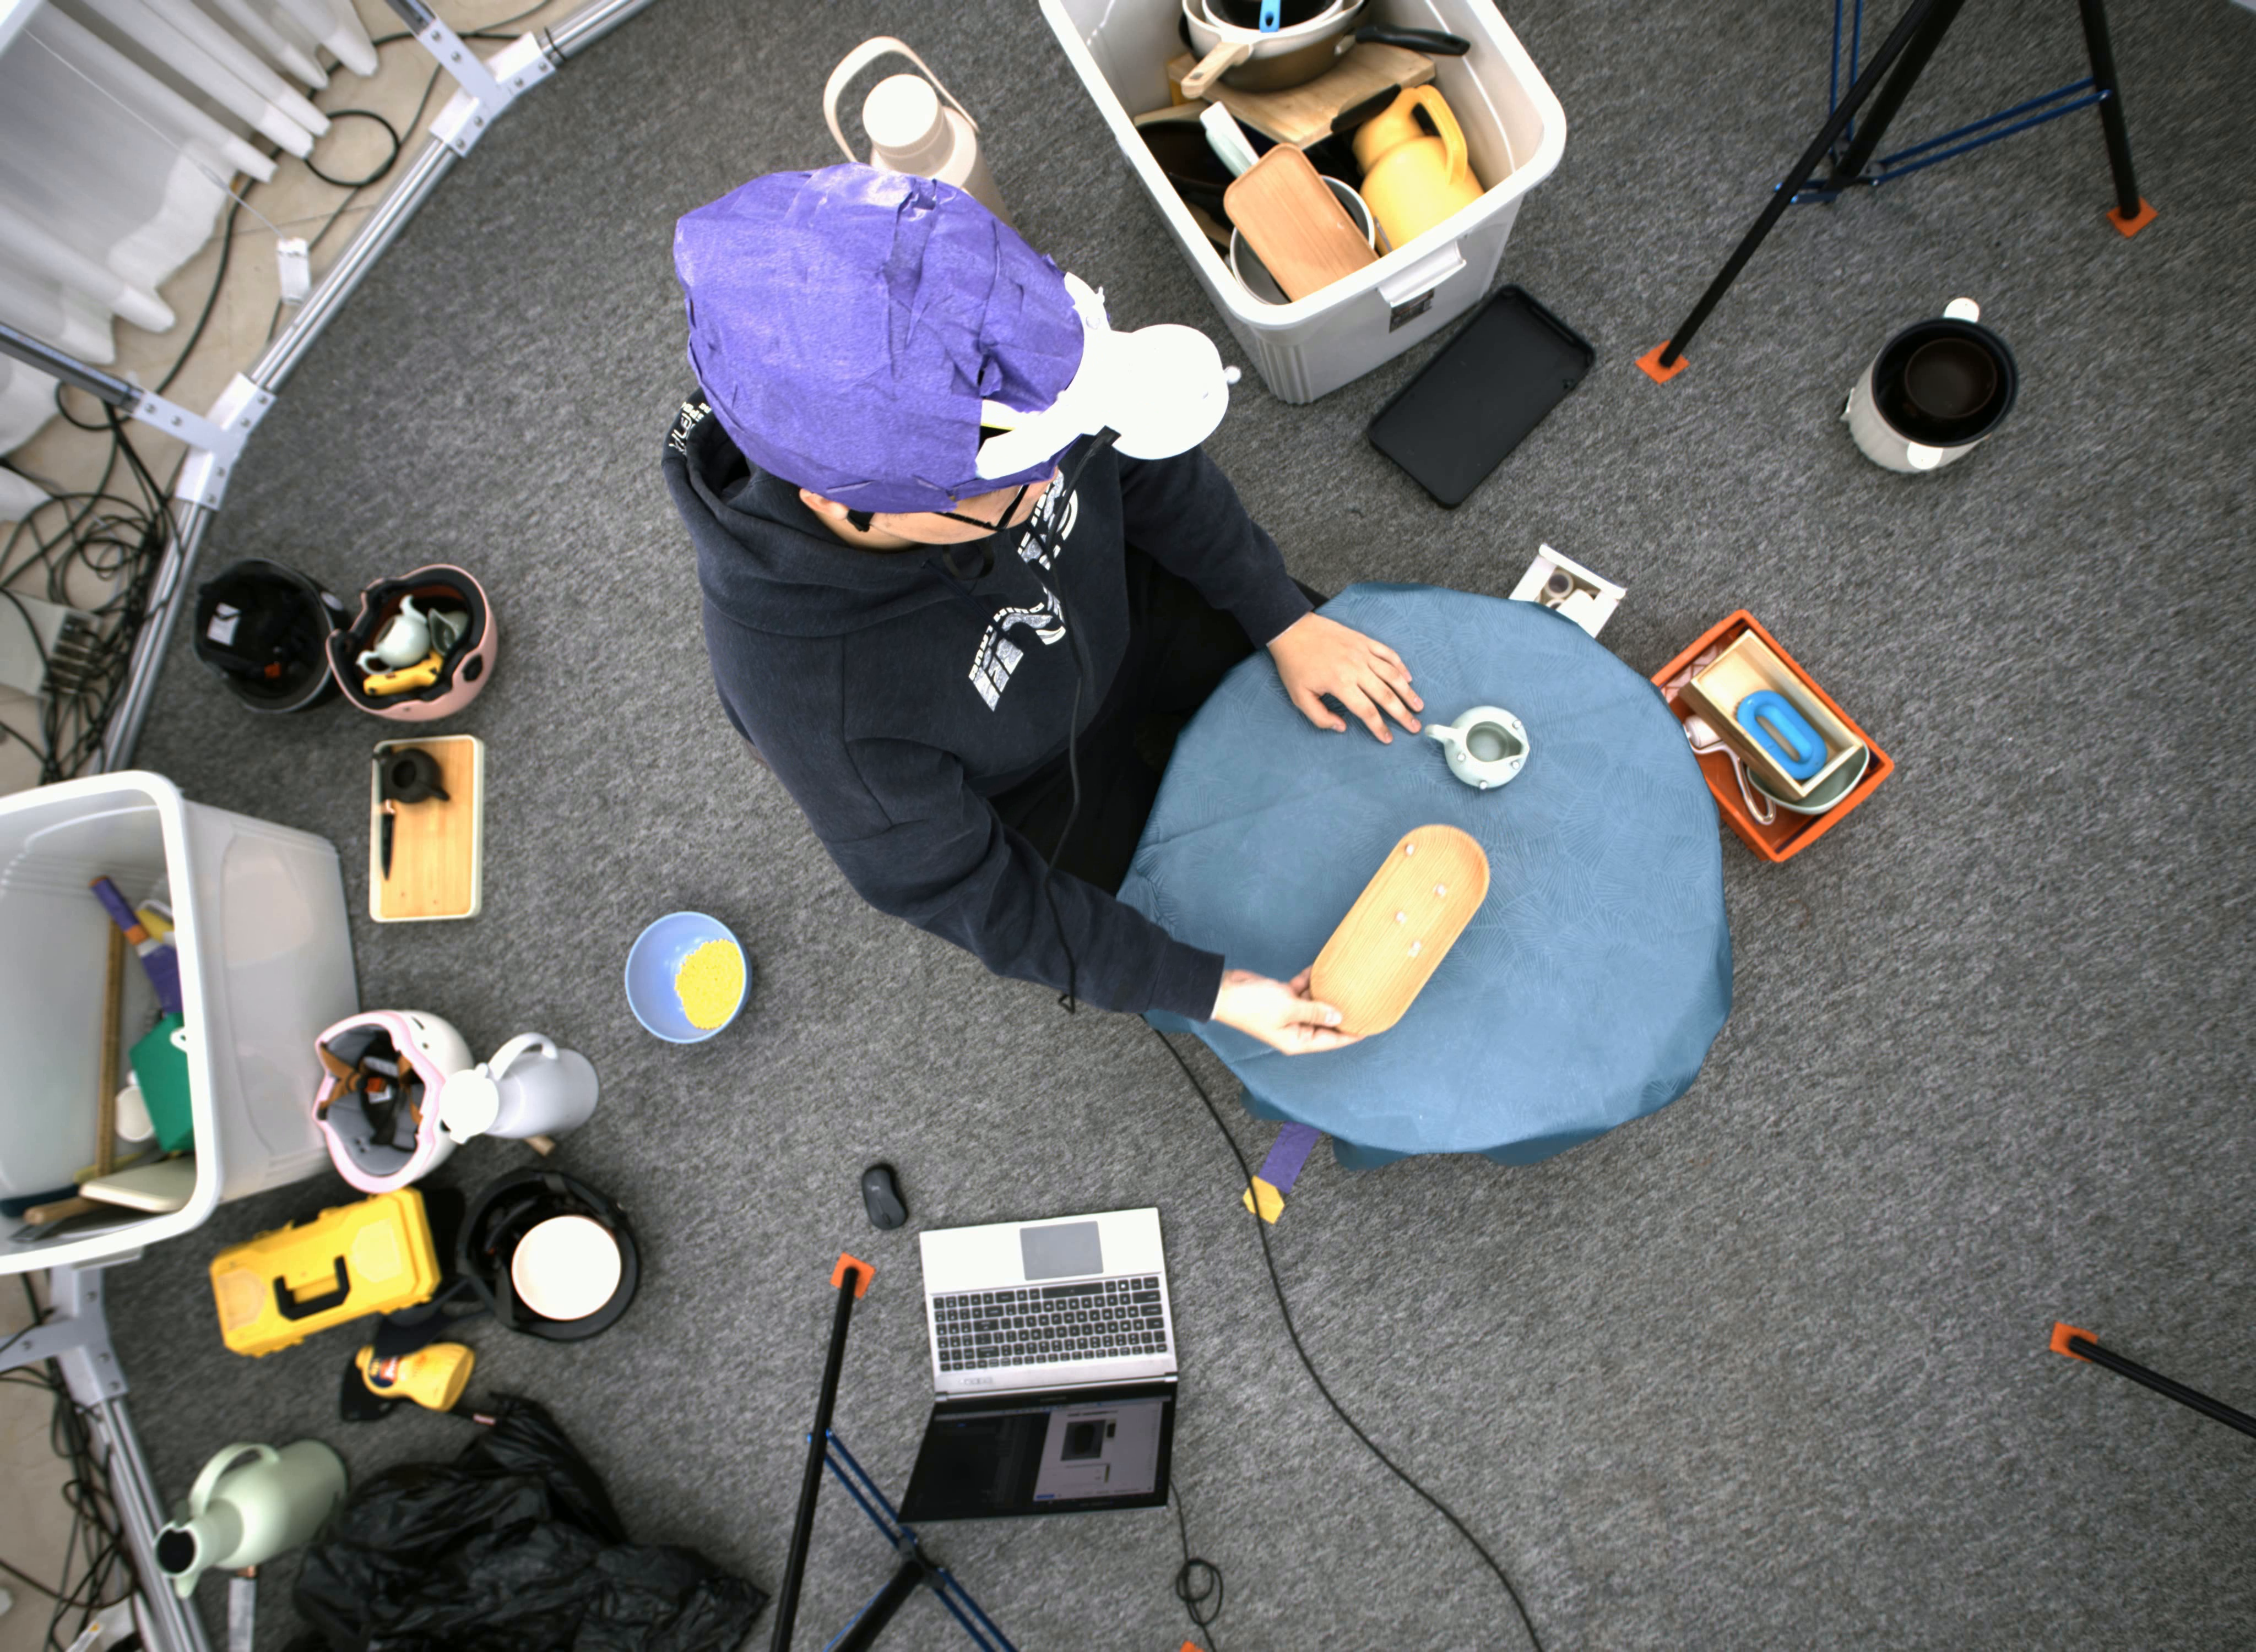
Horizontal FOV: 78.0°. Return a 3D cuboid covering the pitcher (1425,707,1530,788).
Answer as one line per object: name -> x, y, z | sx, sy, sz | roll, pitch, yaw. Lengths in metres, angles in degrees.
pitcher -> 0.363, -0.087, 1.425 | 0.108, 0.060, 0.085 | 12, 87, 14

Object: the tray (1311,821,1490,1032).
tray -> 0.269, 0.097, 1.362 | 0.101, 0.020, 0.231 | 35, 91, 11
